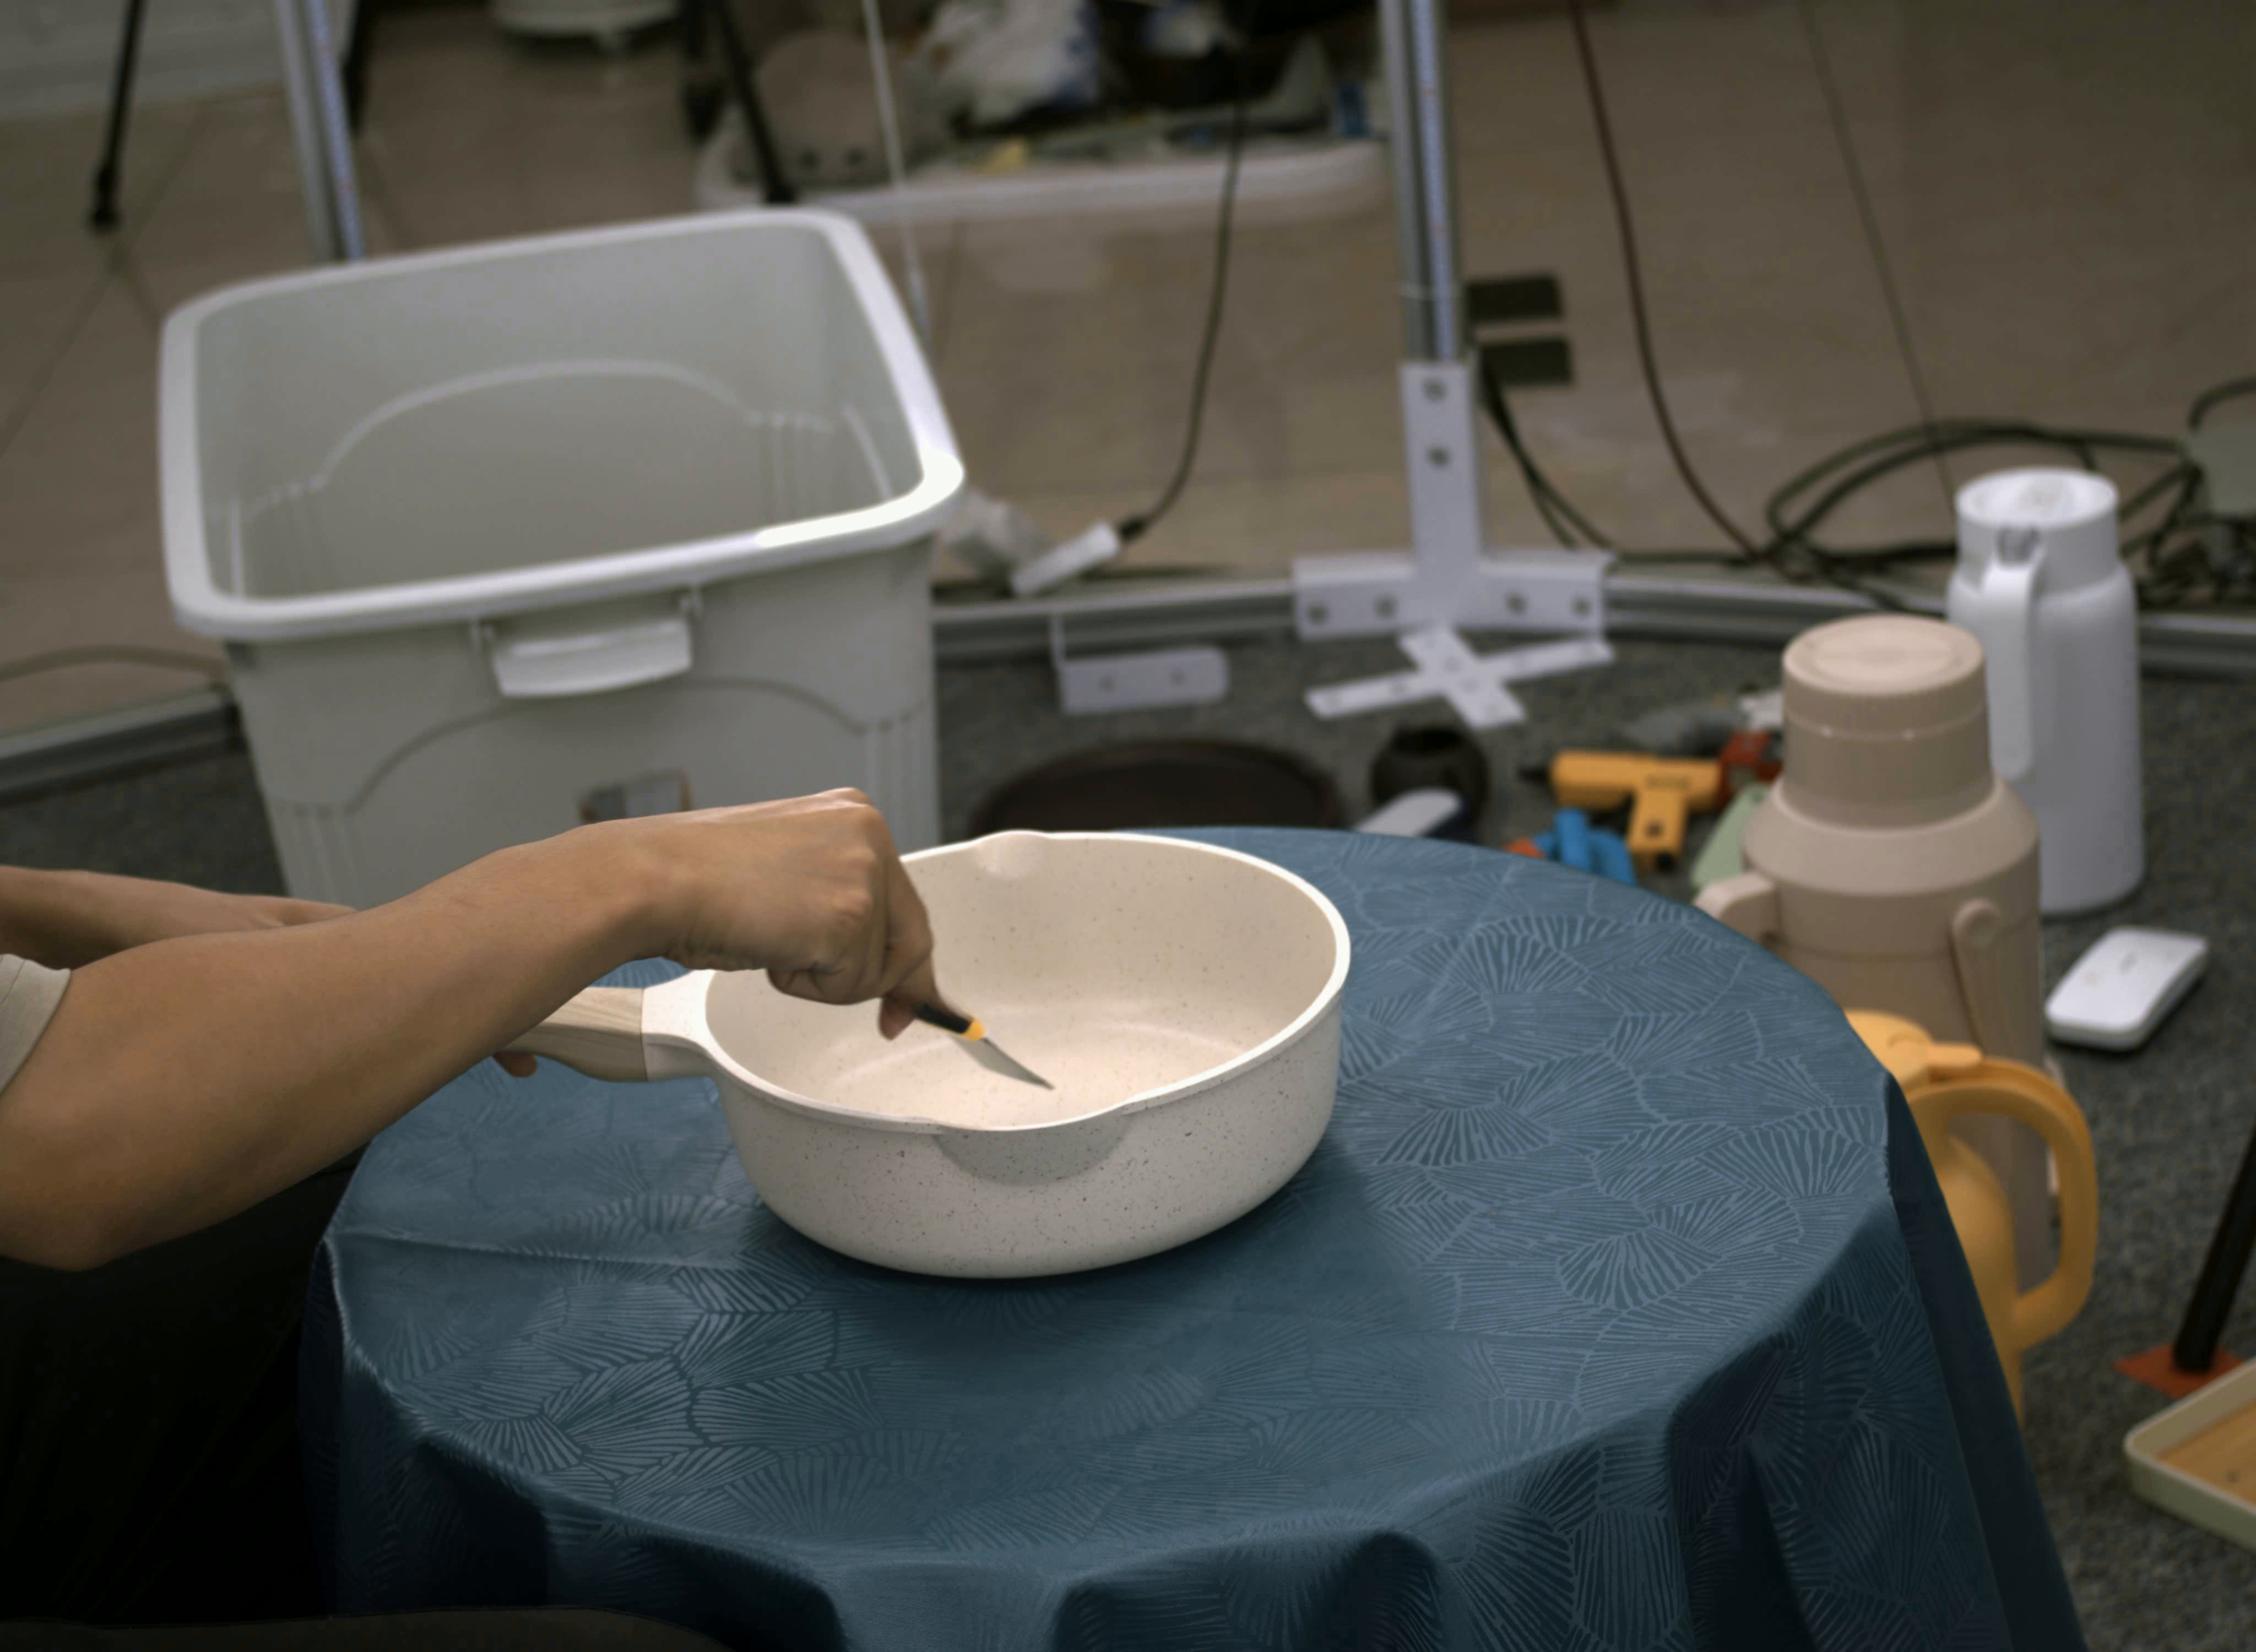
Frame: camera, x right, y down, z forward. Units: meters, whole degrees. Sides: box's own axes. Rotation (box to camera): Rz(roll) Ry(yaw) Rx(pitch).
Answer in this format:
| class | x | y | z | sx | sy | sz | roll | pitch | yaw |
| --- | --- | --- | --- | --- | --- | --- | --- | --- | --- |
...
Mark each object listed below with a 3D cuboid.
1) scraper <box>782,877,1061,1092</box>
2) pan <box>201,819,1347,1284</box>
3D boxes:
| class | x | y | z | sx | sy | sz | roll | pitch | yaw |
| --- | --- | --- | --- | --- | --- | --- | --- | --- | --- |
| scraper | -0.076 | 0.059 | 2.061 | 0.038 | 0.173 | 0.015 | 27 | 81 | 37 |
| pan | -0.130 | 0.094 | 2.166 | 0.434 | 0.104 | 0.259 | -6 | 27 | -1 |
